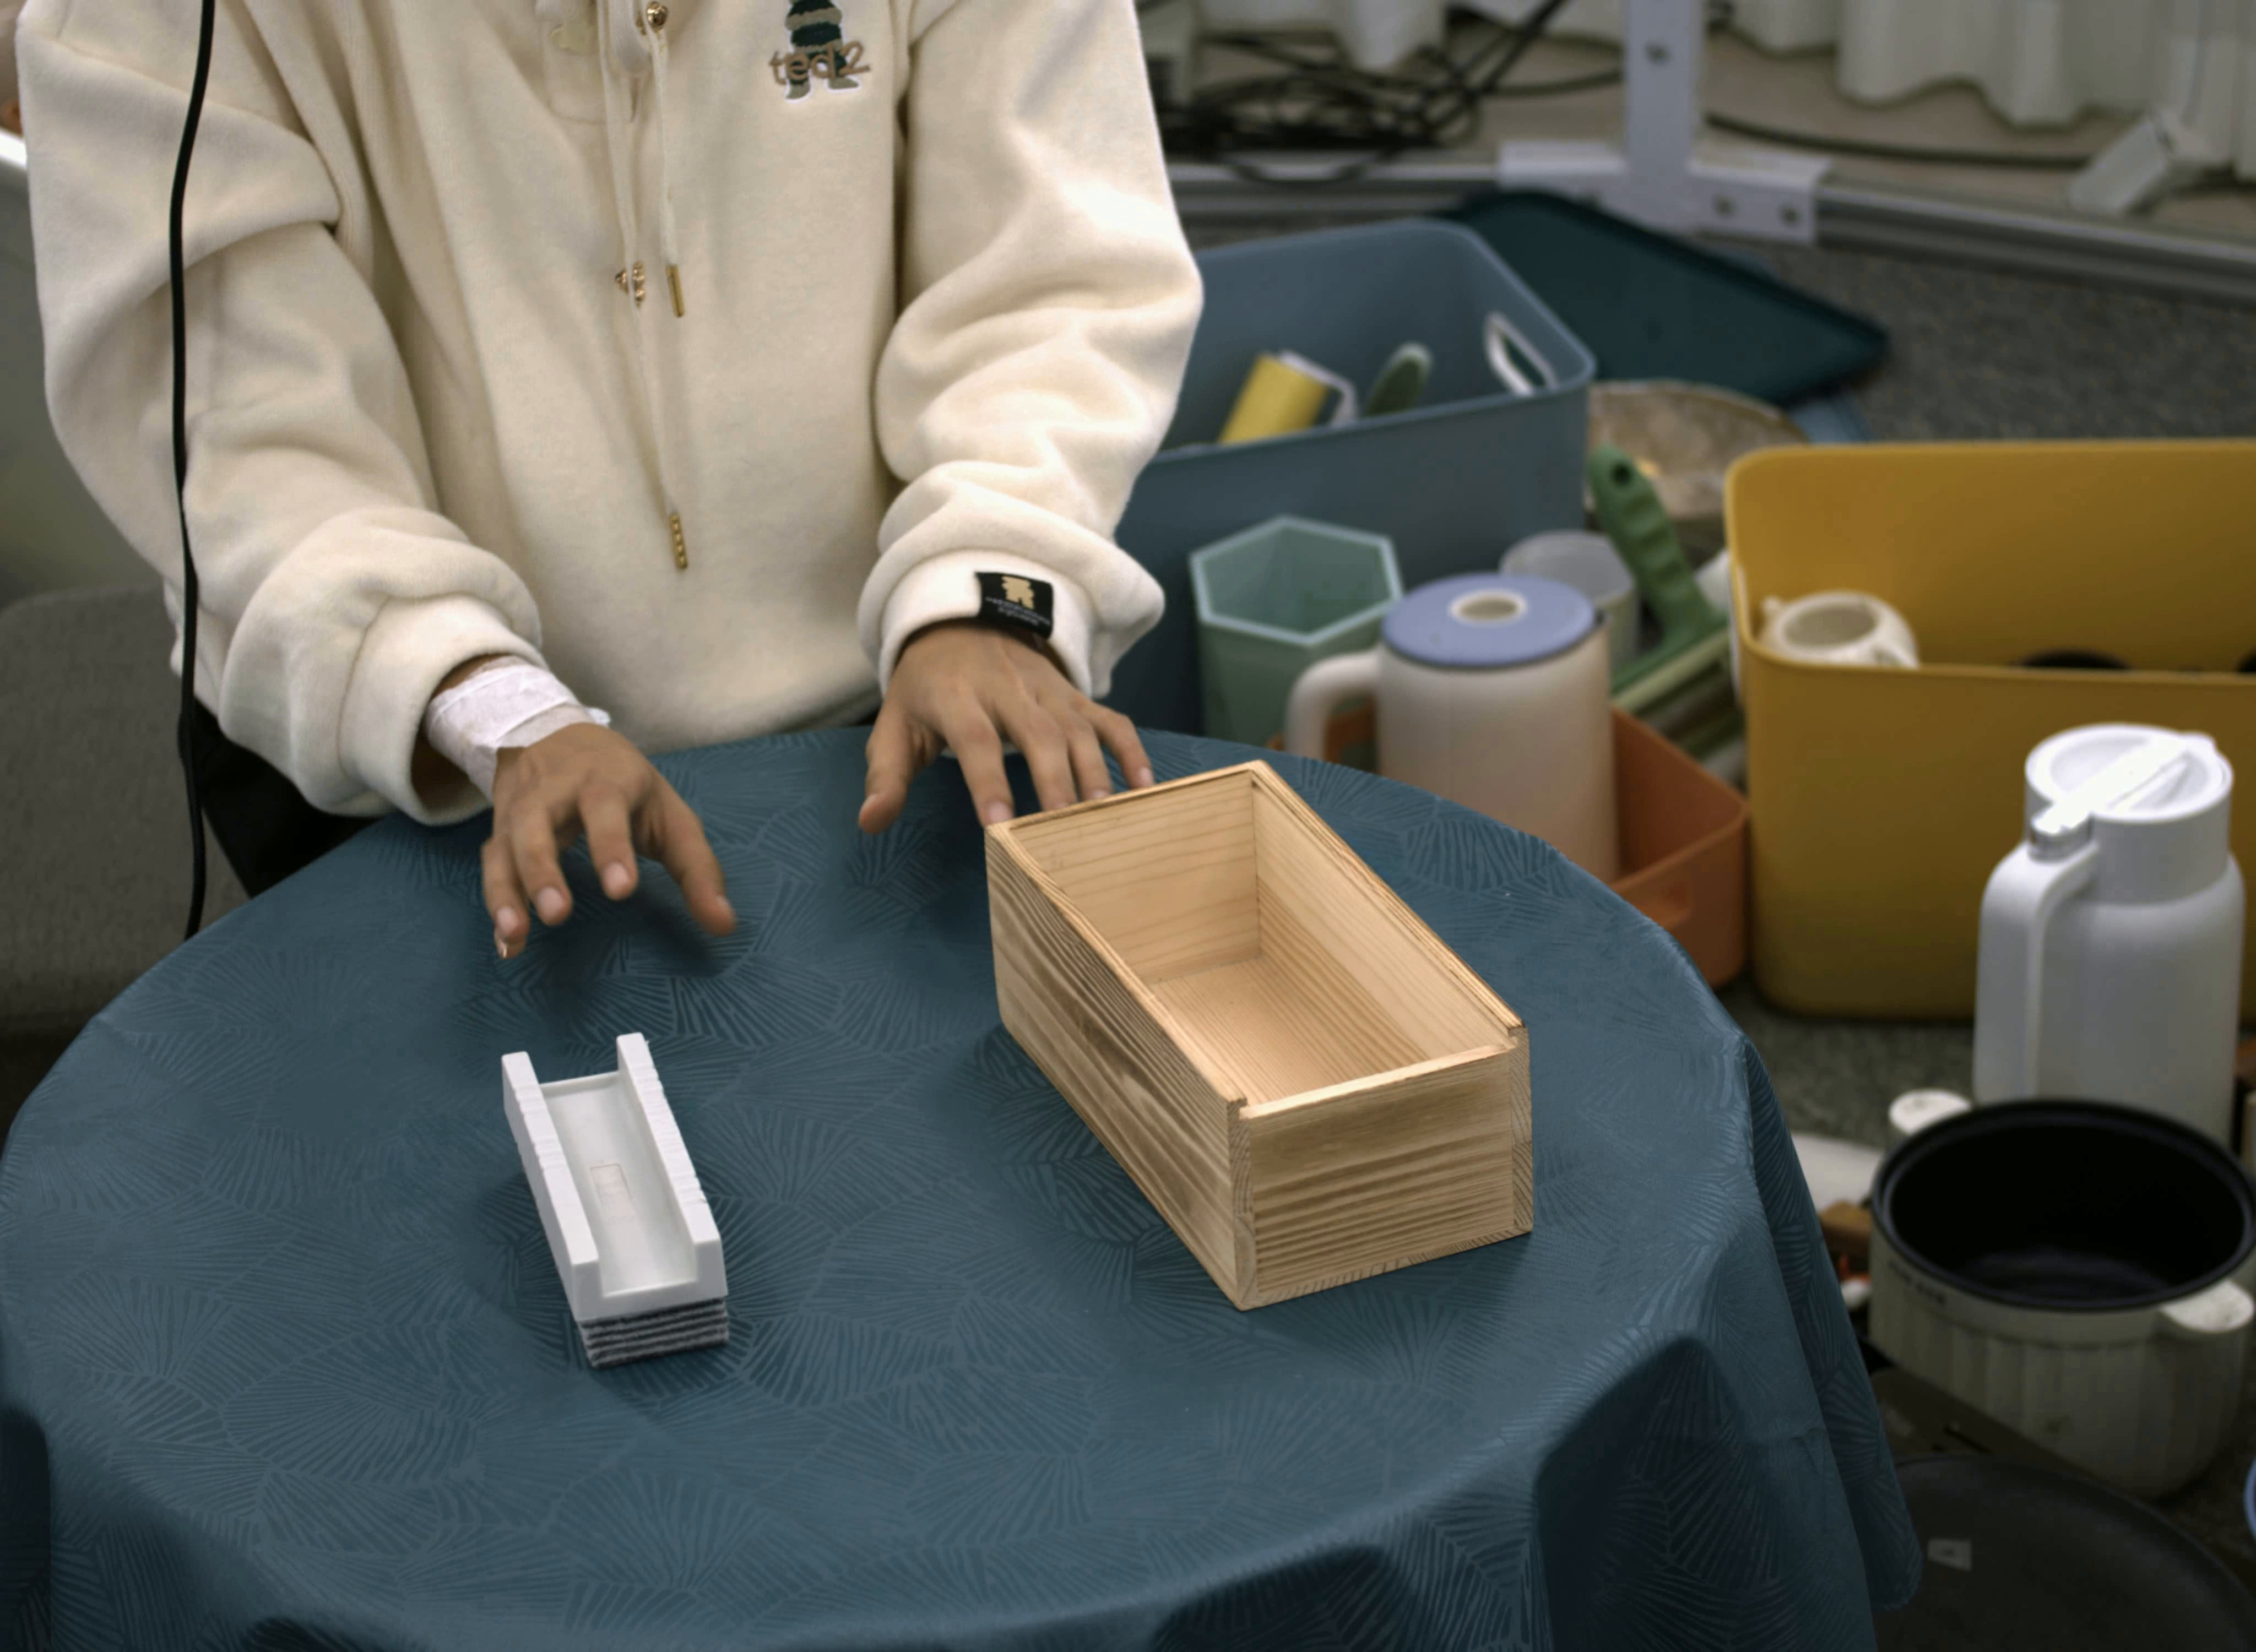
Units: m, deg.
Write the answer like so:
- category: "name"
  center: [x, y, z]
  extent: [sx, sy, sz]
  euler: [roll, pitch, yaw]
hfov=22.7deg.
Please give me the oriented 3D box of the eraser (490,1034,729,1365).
- category: "eraser"
  center: [-0.169, 0.121, 1.829]
  extent: [0.050, 0.046, 0.135]
  euler: [-12, 30, -14]

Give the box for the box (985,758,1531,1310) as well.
- category: "box"
  center: [0.041, 0.065, 1.881]
  extent: [0.108, 0.079, 0.213]
  euler: [-13, 29, -20]
